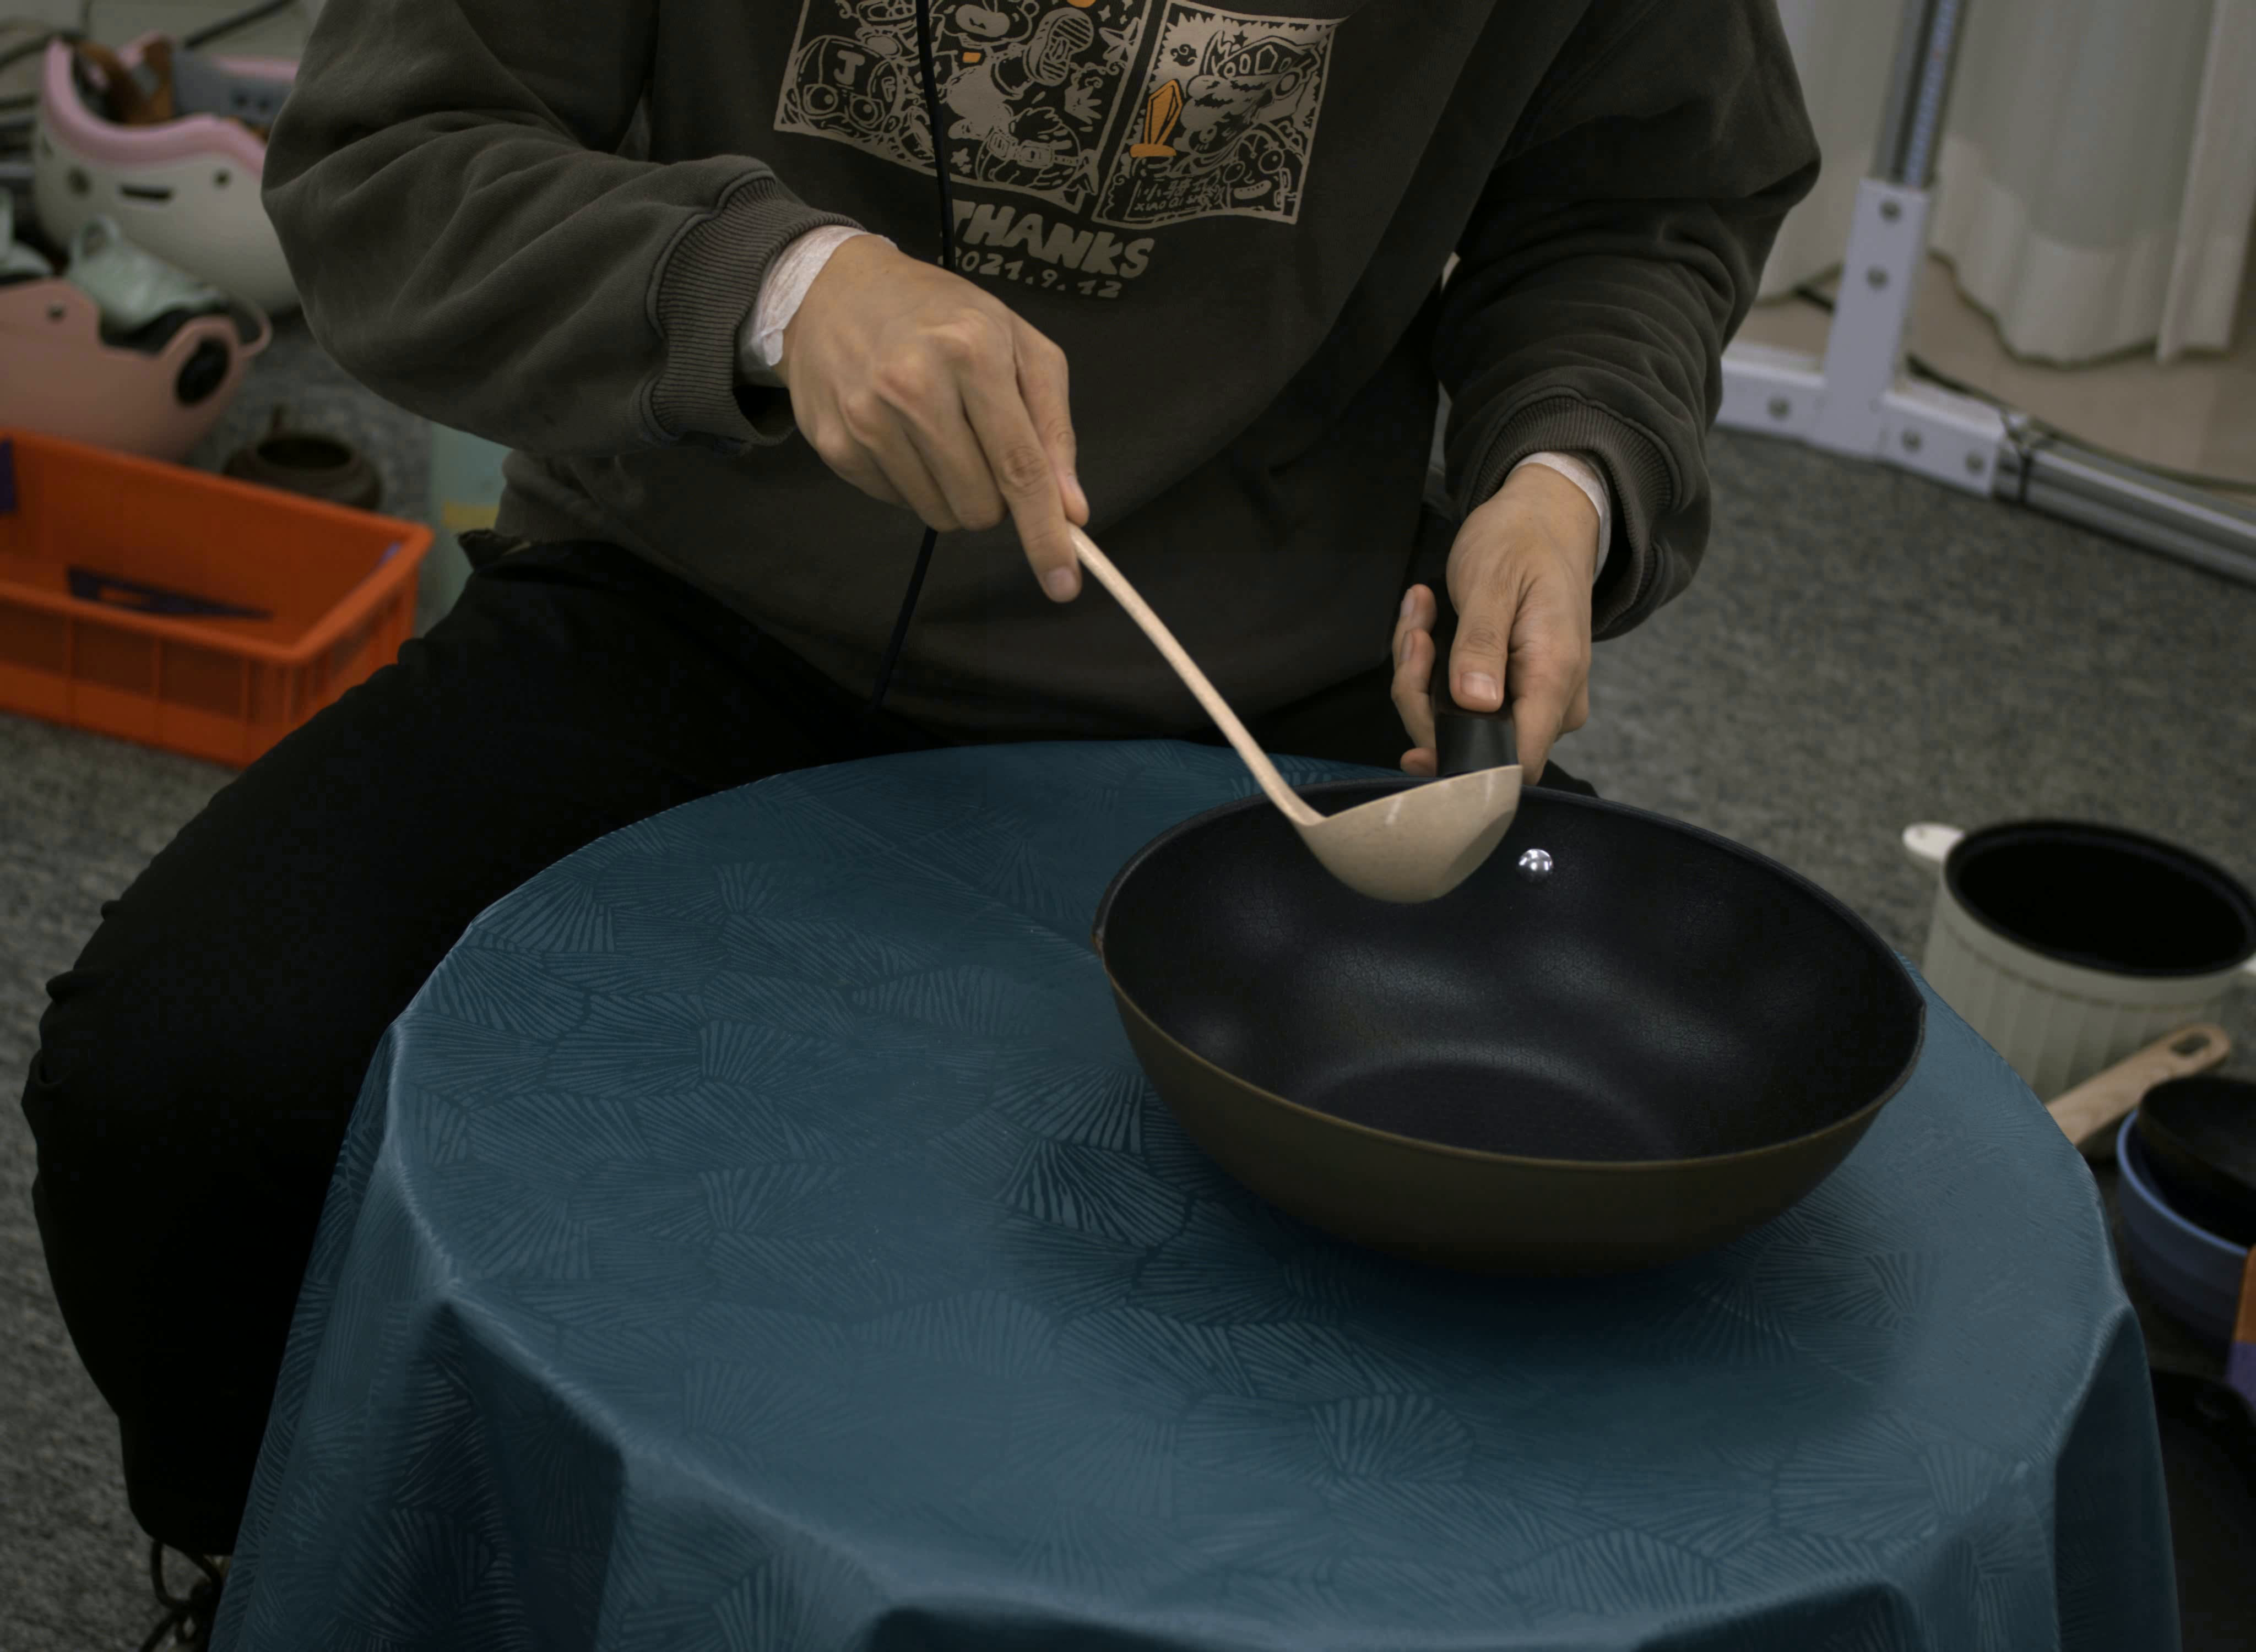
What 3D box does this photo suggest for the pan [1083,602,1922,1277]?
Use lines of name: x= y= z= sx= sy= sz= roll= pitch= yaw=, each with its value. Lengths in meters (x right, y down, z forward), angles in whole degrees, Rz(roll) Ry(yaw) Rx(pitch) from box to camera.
pan: x=0.124 y=0.041 z=1.906 sx=0.287 sy=0.086 sz=0.466 roll=5 pitch=25 yaw=-2

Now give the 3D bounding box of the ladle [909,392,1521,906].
ladle: x=0.032 y=-0.079 z=1.806 sx=0.255 sy=0.073 sz=0.072 roll=49 pitch=18 yaw=11
